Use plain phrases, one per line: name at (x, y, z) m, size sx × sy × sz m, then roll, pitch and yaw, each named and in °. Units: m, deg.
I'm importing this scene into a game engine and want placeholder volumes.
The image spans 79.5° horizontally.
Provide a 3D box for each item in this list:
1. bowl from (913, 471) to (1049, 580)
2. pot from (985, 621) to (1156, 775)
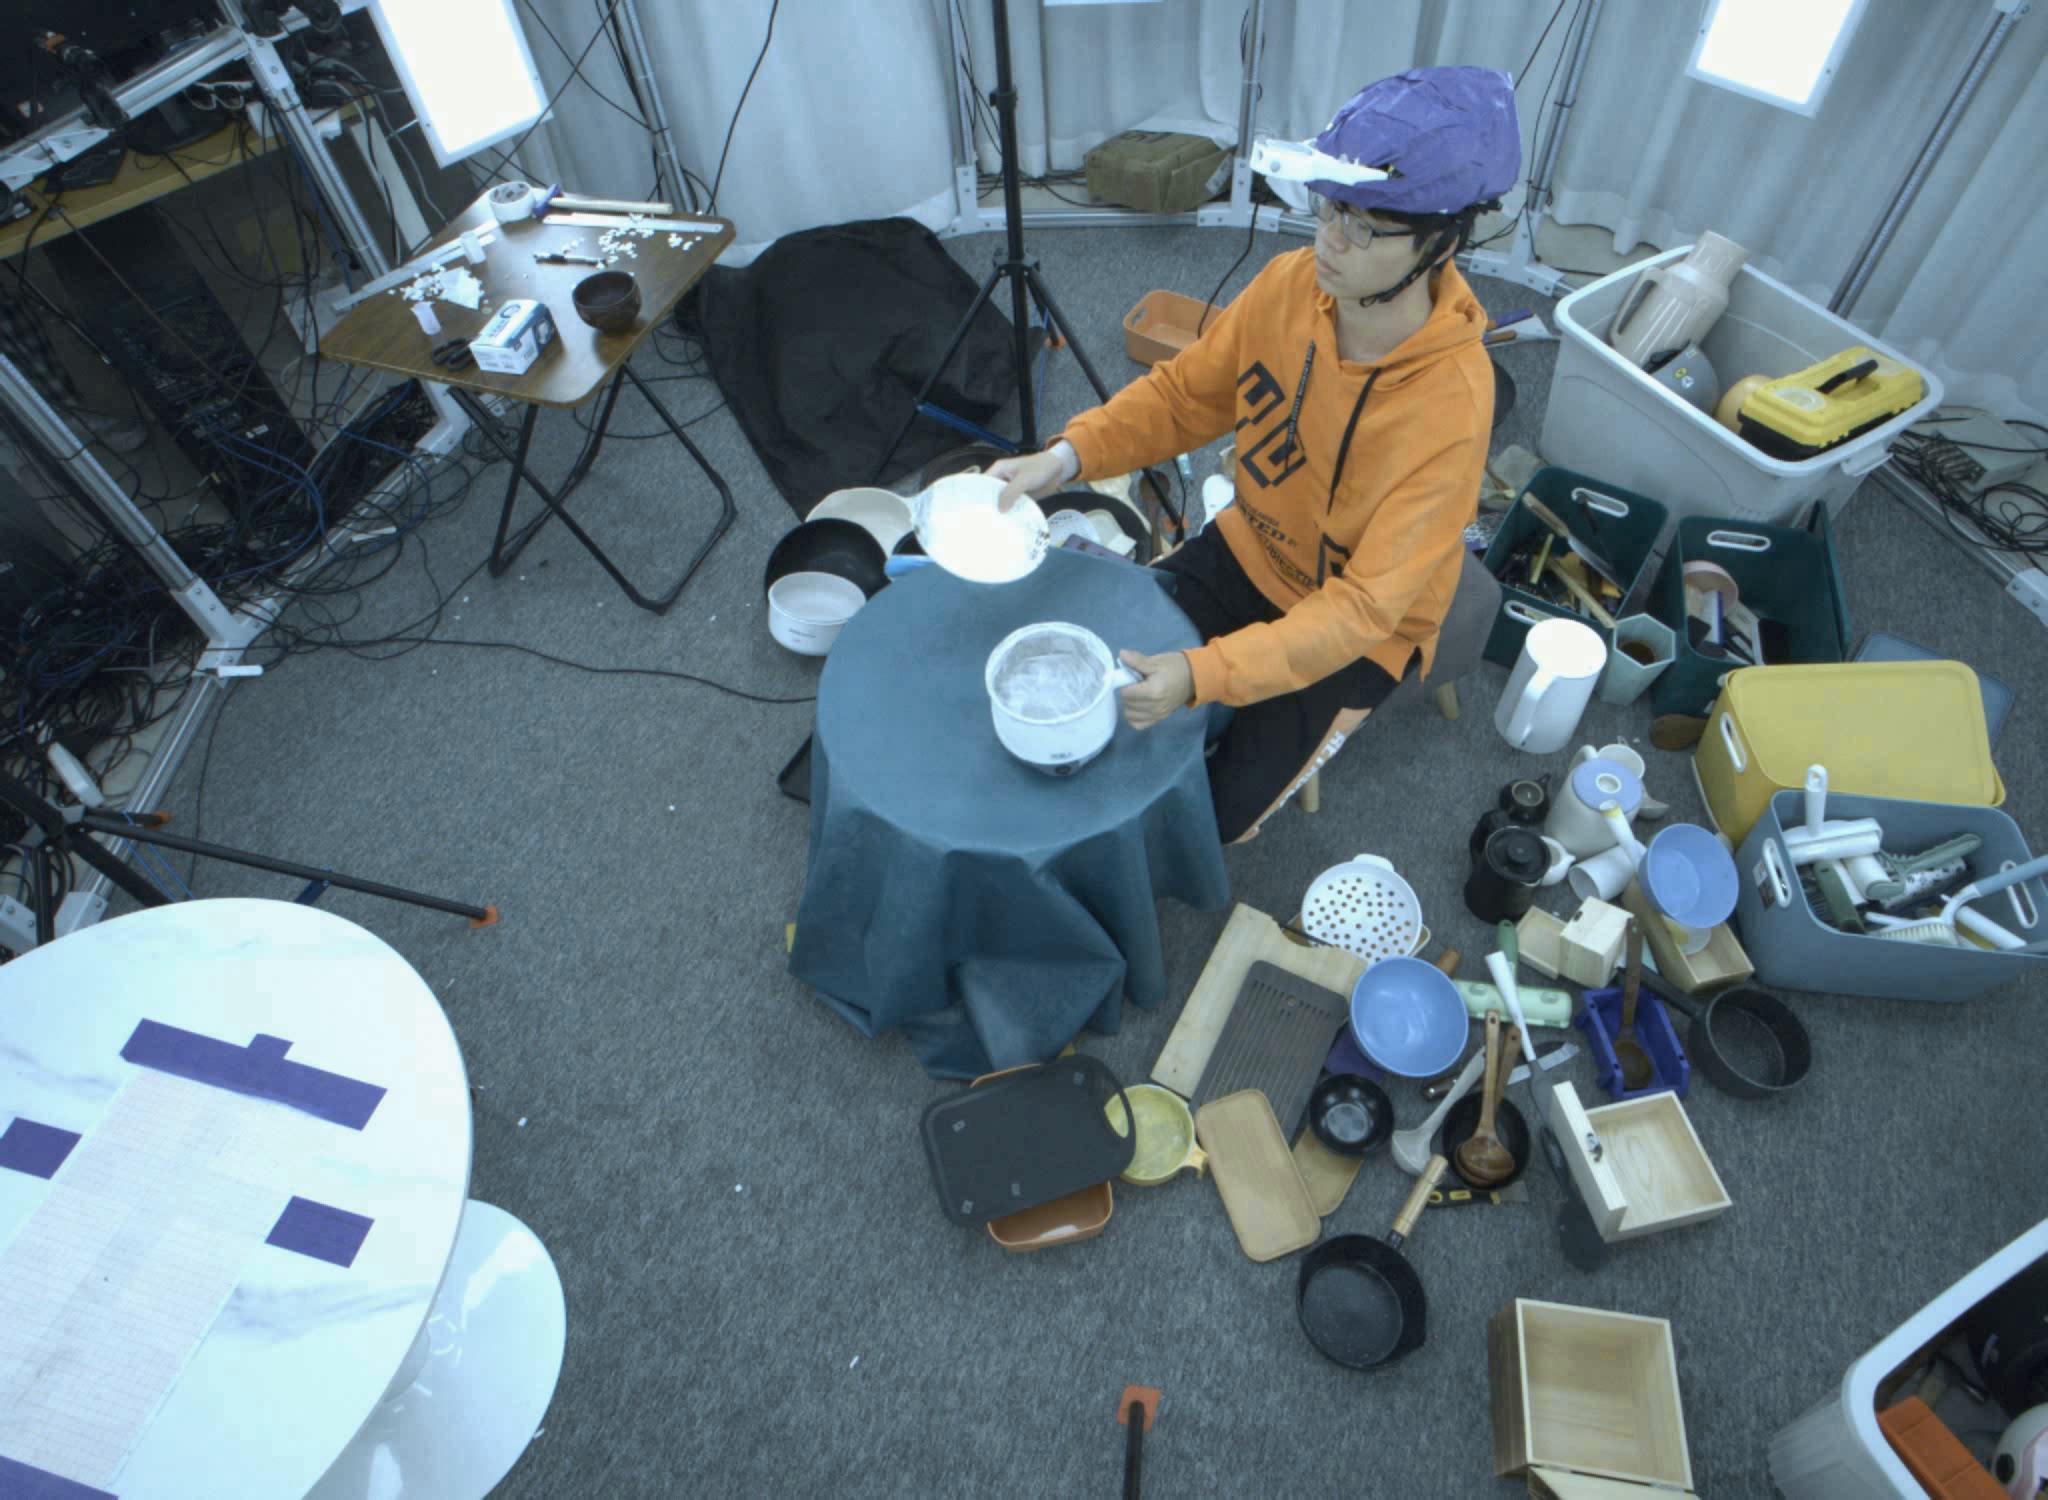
bowl at (-0.072, -0.309, 1.793) m, size 0.206 × 0.078 × 0.202 m, roll 11°, pitch 57°, yaw -15°
pot at (0.069, -0.076, 1.728) m, size 0.234 × 0.138 × 0.176 m, roll -9°, pitch 57°, yaw -1°
